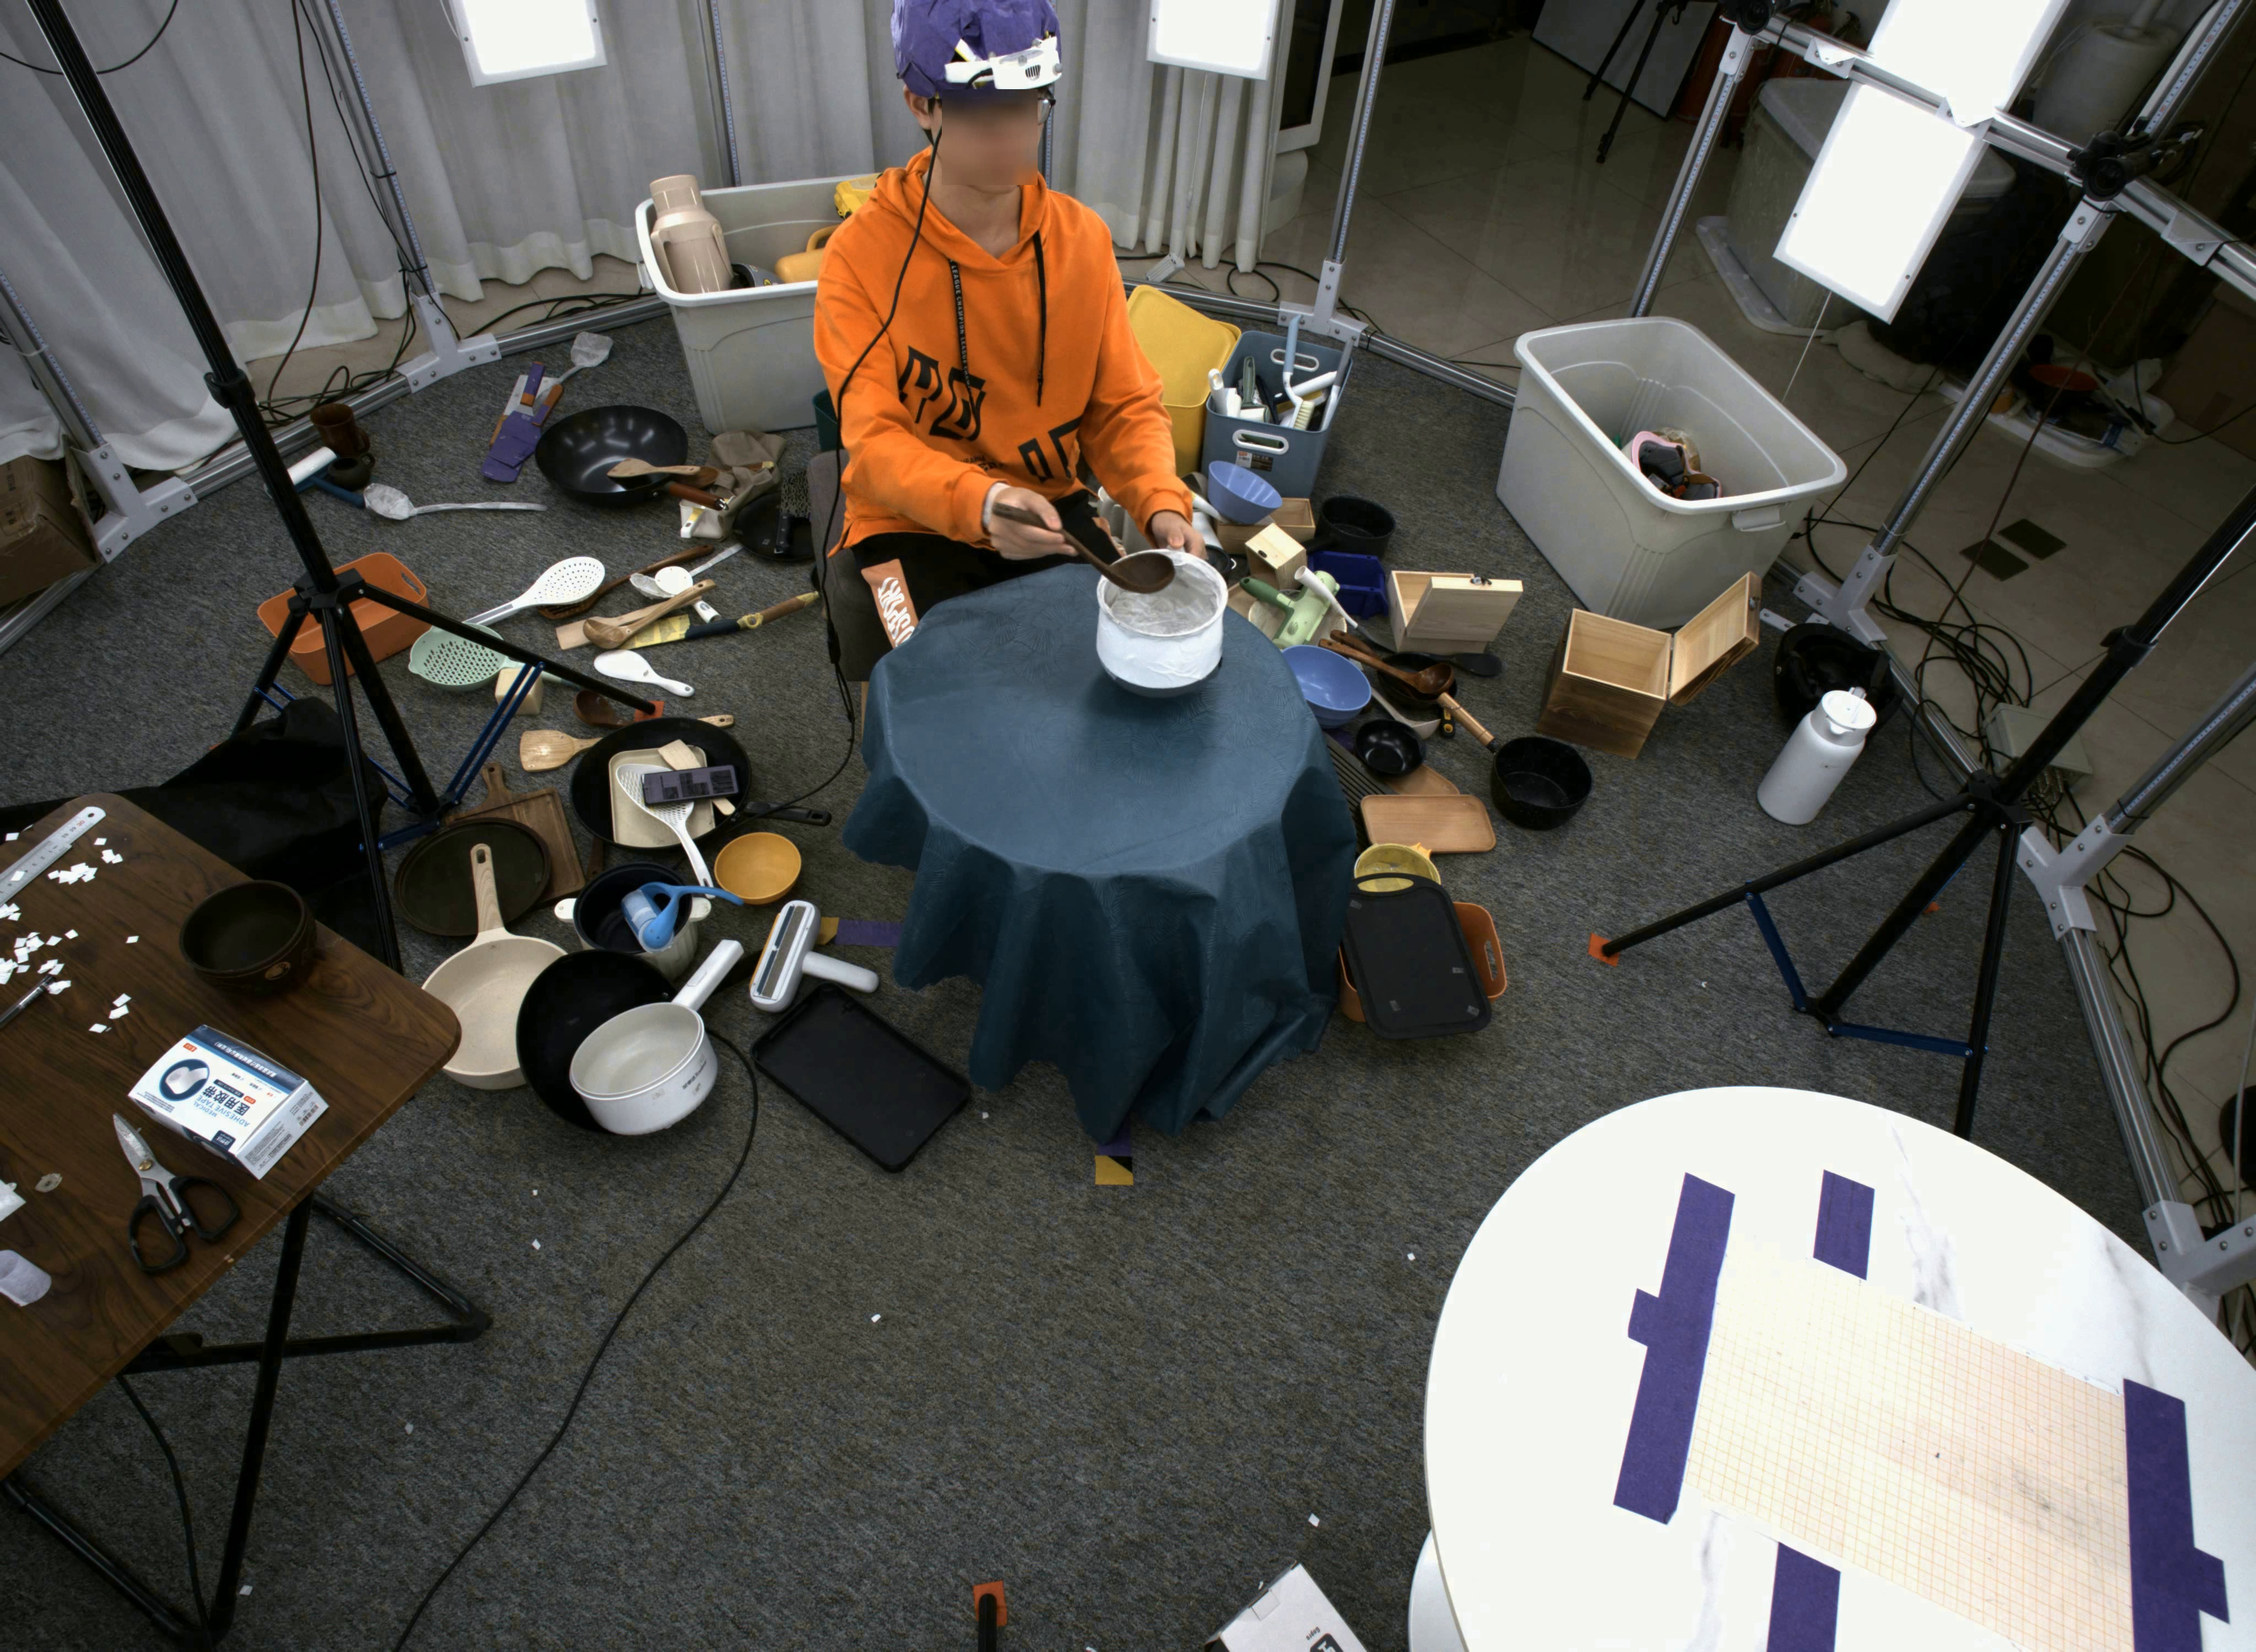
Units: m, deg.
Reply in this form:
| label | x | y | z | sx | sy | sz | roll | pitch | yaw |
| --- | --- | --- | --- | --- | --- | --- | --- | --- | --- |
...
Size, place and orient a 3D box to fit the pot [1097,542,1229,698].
| label | x | y | z | sx | sy | sz | roll | pitch | yaw |
| --- | --- | --- | --- | --- | --- | --- | --- | --- | --- |
| pot | 0.051 | -0.297 | 1.792 | 0.179 | 0.133 | 0.239 | 8 | 50 | 5 |

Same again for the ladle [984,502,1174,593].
| label | x | y | z | sx | sy | sz | roll | pitch | yaw |
| --- | --- | --- | --- | --- | --- | --- | --- | --- | --- |
| ladle | -0.053 | -0.363 | 1.609 | 0.270 | 0.070 | 0.078 | 23 | 24 | -41 |
